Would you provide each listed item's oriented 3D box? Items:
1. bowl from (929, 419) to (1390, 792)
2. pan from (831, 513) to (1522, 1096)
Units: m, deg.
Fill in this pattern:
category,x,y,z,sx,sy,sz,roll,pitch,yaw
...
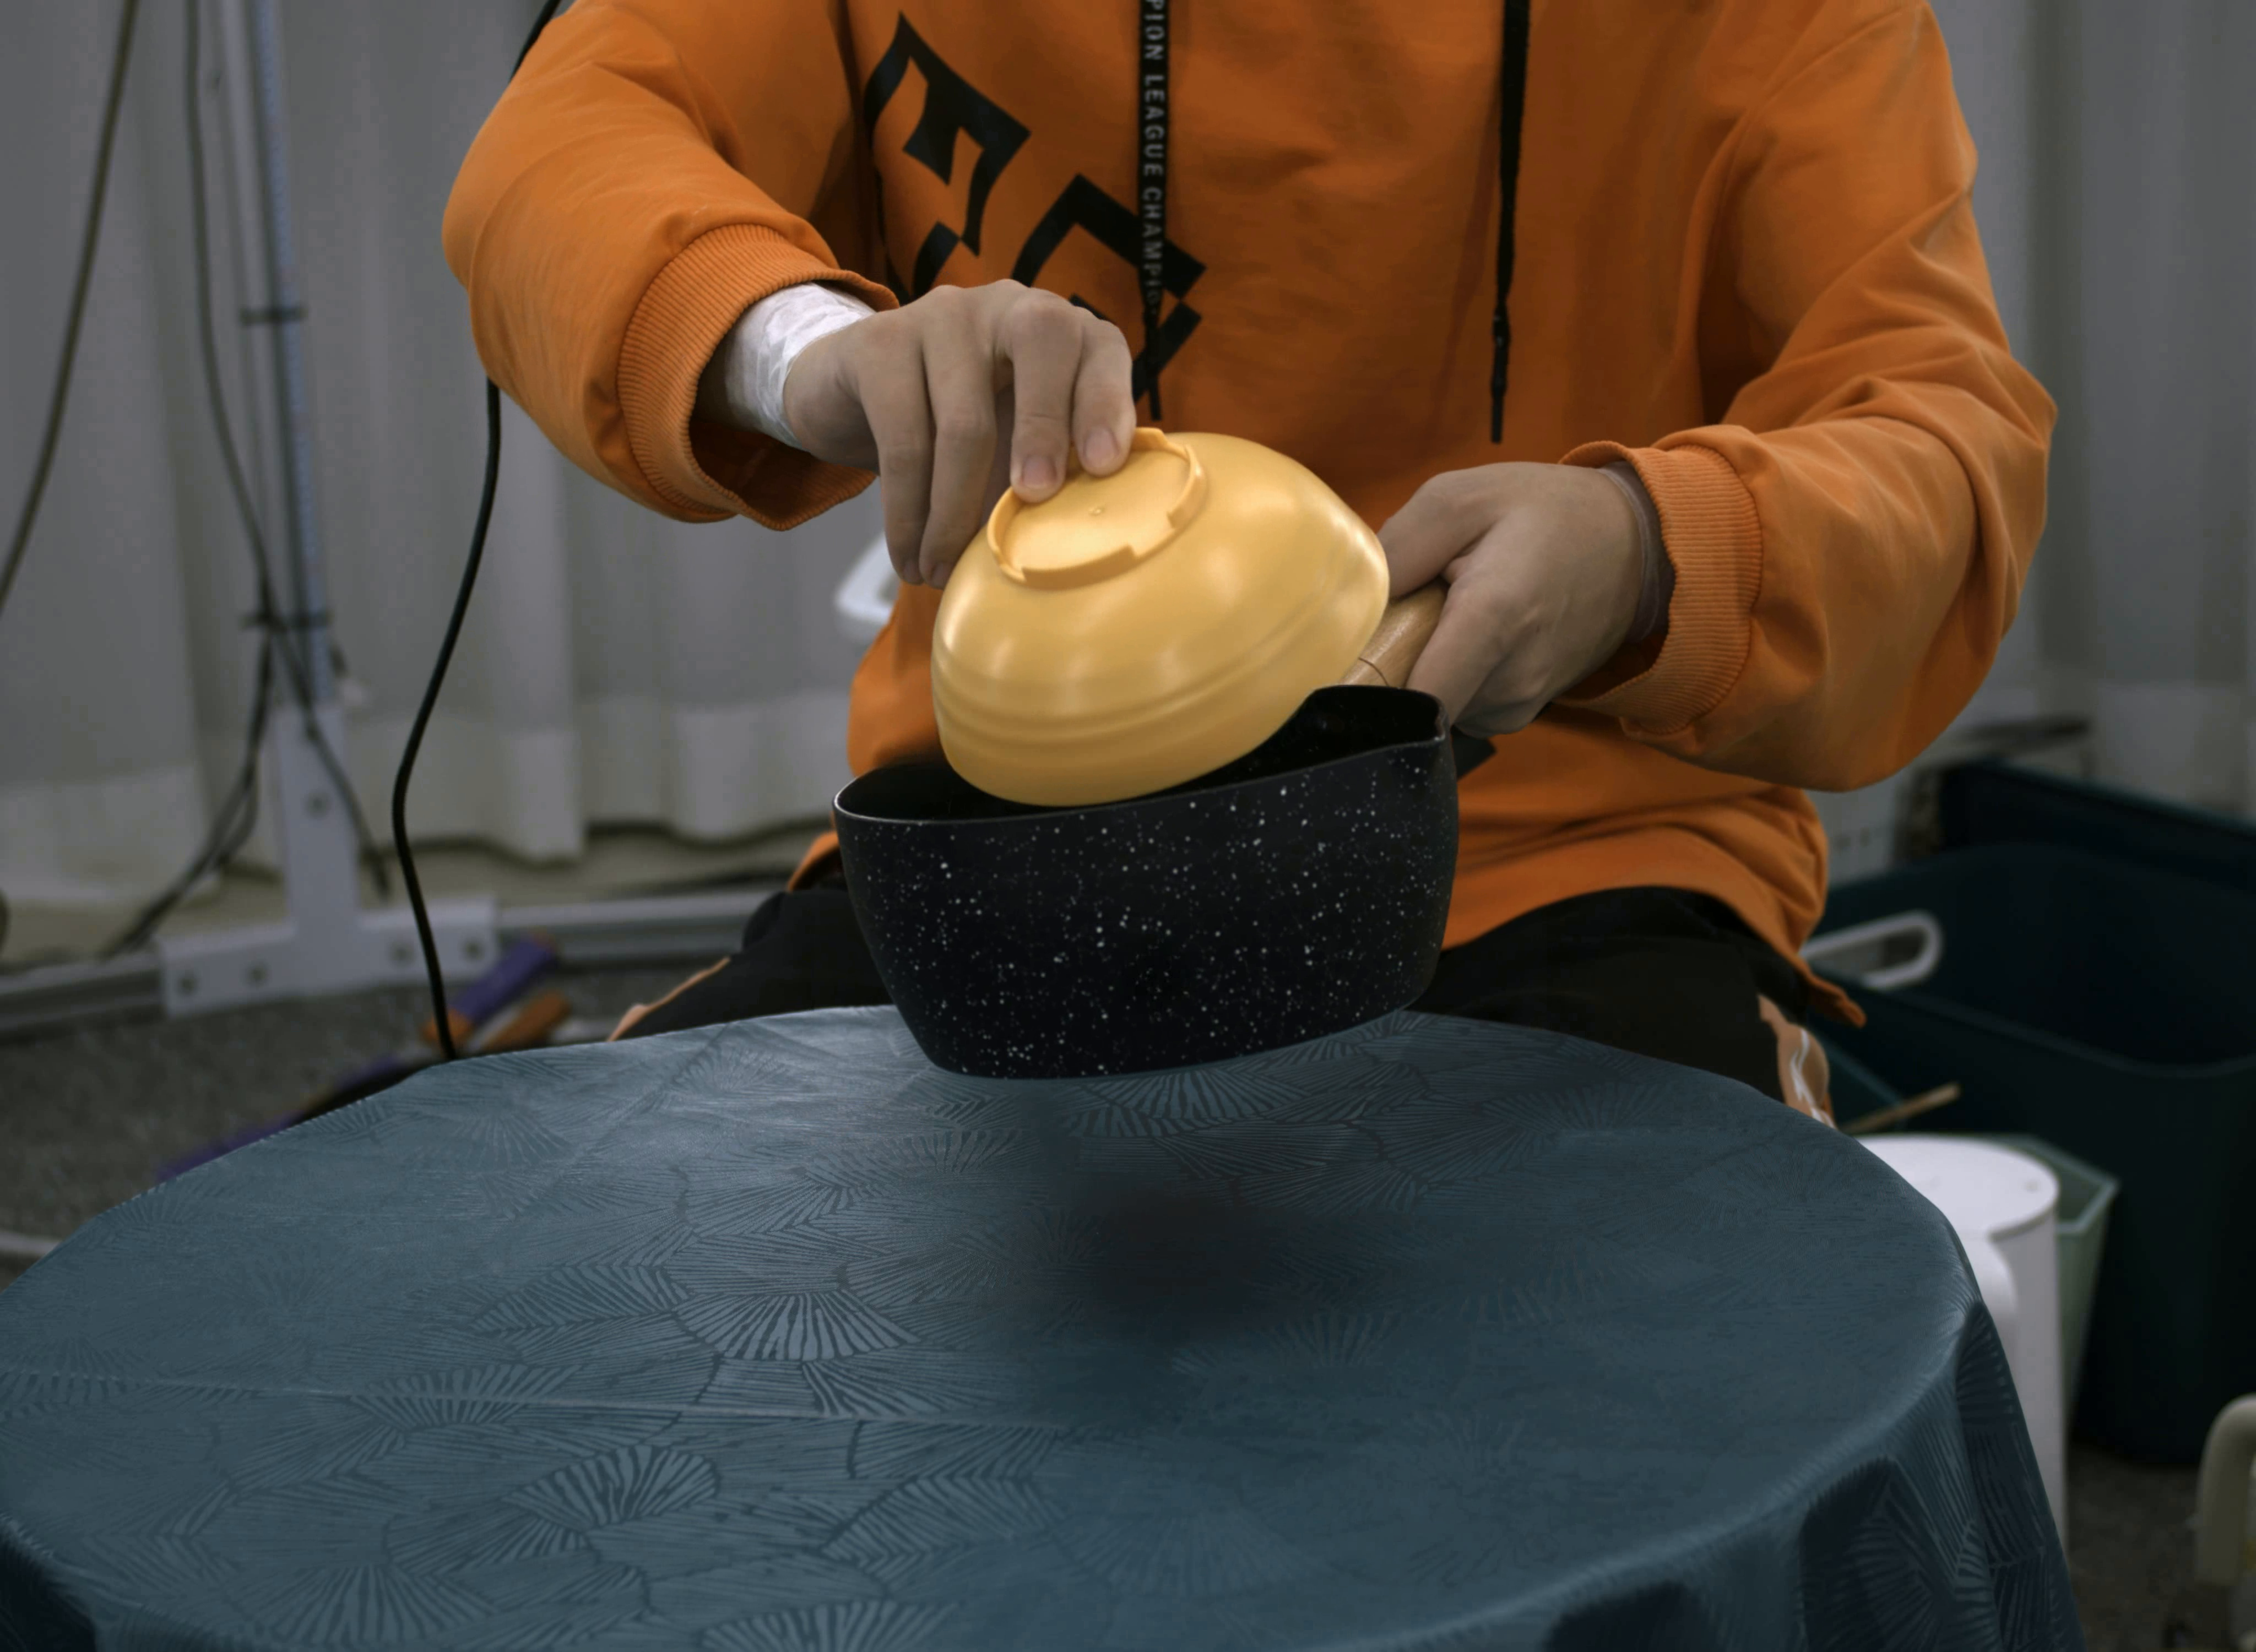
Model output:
category,x,y,z,sx,sy,sz,roll,pitch,yaw
bowl,0.000,-0.077,1.616,0.145,0.059,0.147,-16,35,11
pan,0.045,-0.011,1.688,0.207,0.108,0.343,-5,12,30
